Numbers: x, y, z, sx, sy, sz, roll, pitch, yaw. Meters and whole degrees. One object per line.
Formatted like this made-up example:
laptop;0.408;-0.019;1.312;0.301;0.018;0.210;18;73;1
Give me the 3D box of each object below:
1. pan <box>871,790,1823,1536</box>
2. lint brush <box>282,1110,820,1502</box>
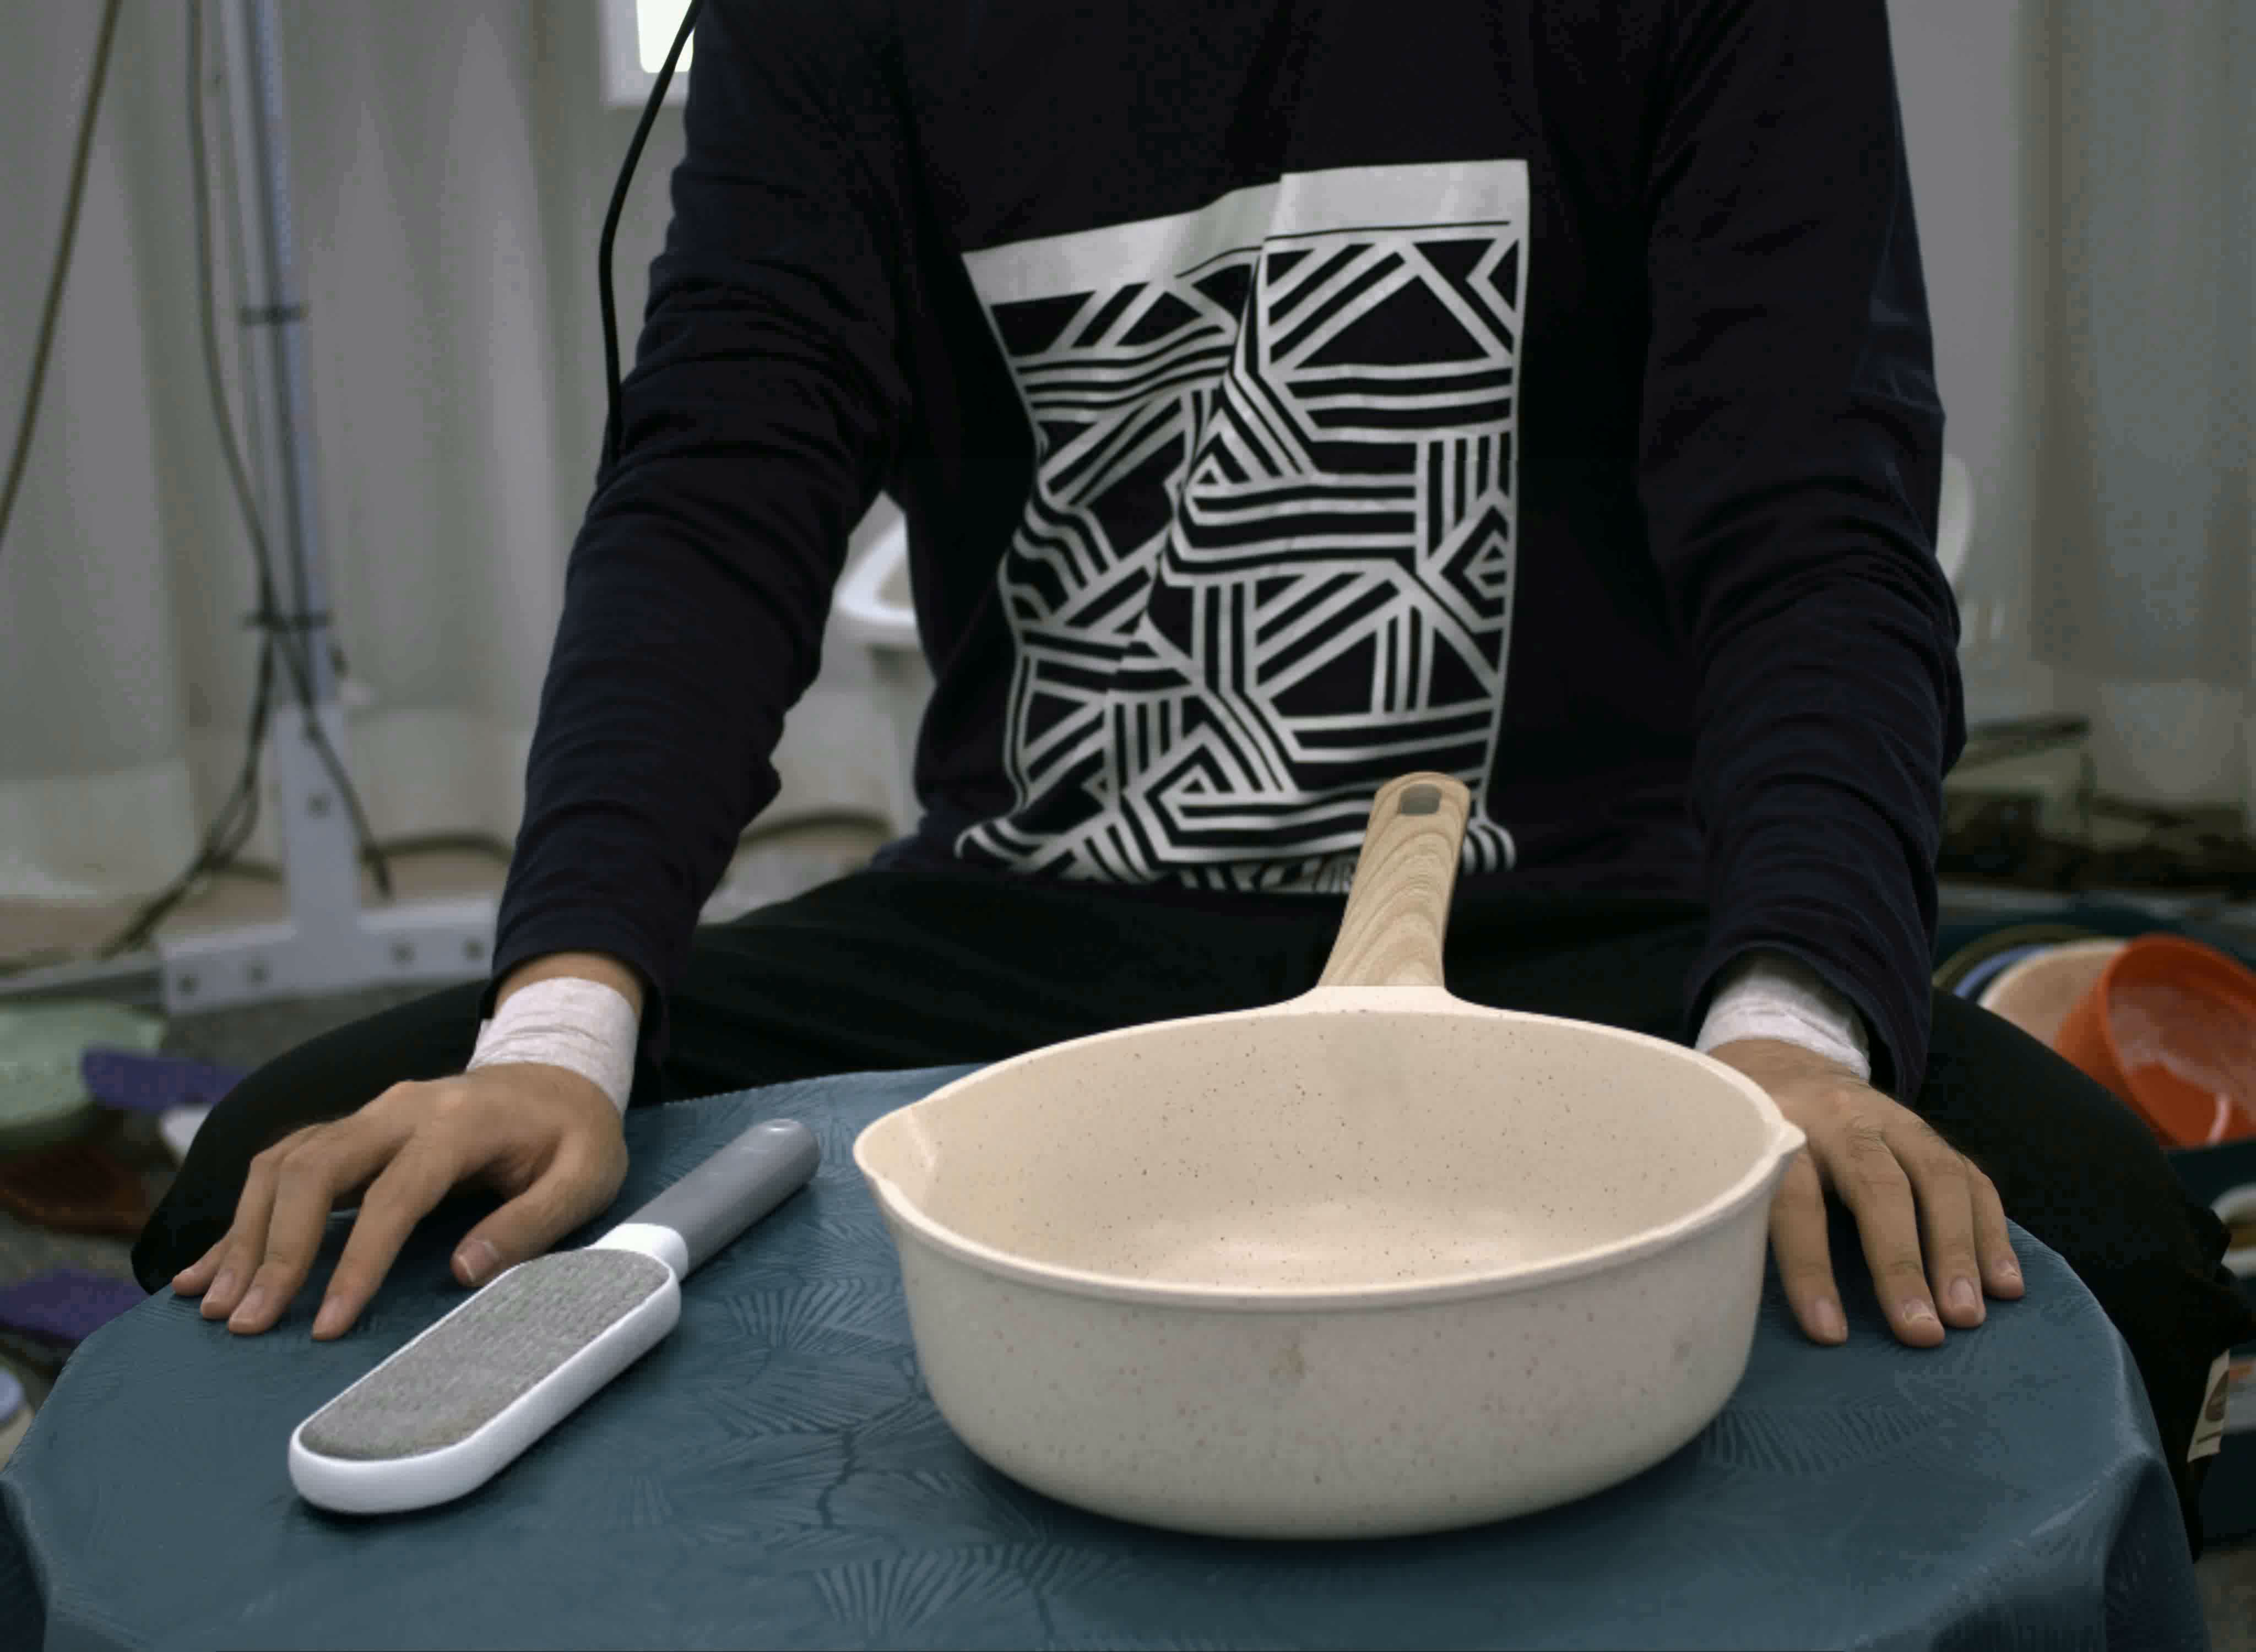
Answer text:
pan;0.074;0.093;1.597;0.263;0.101;0.437;-3;14;9
lint brush;-0.158;0.137;1.609;0.060;0.021;0.310;-2;14;21
